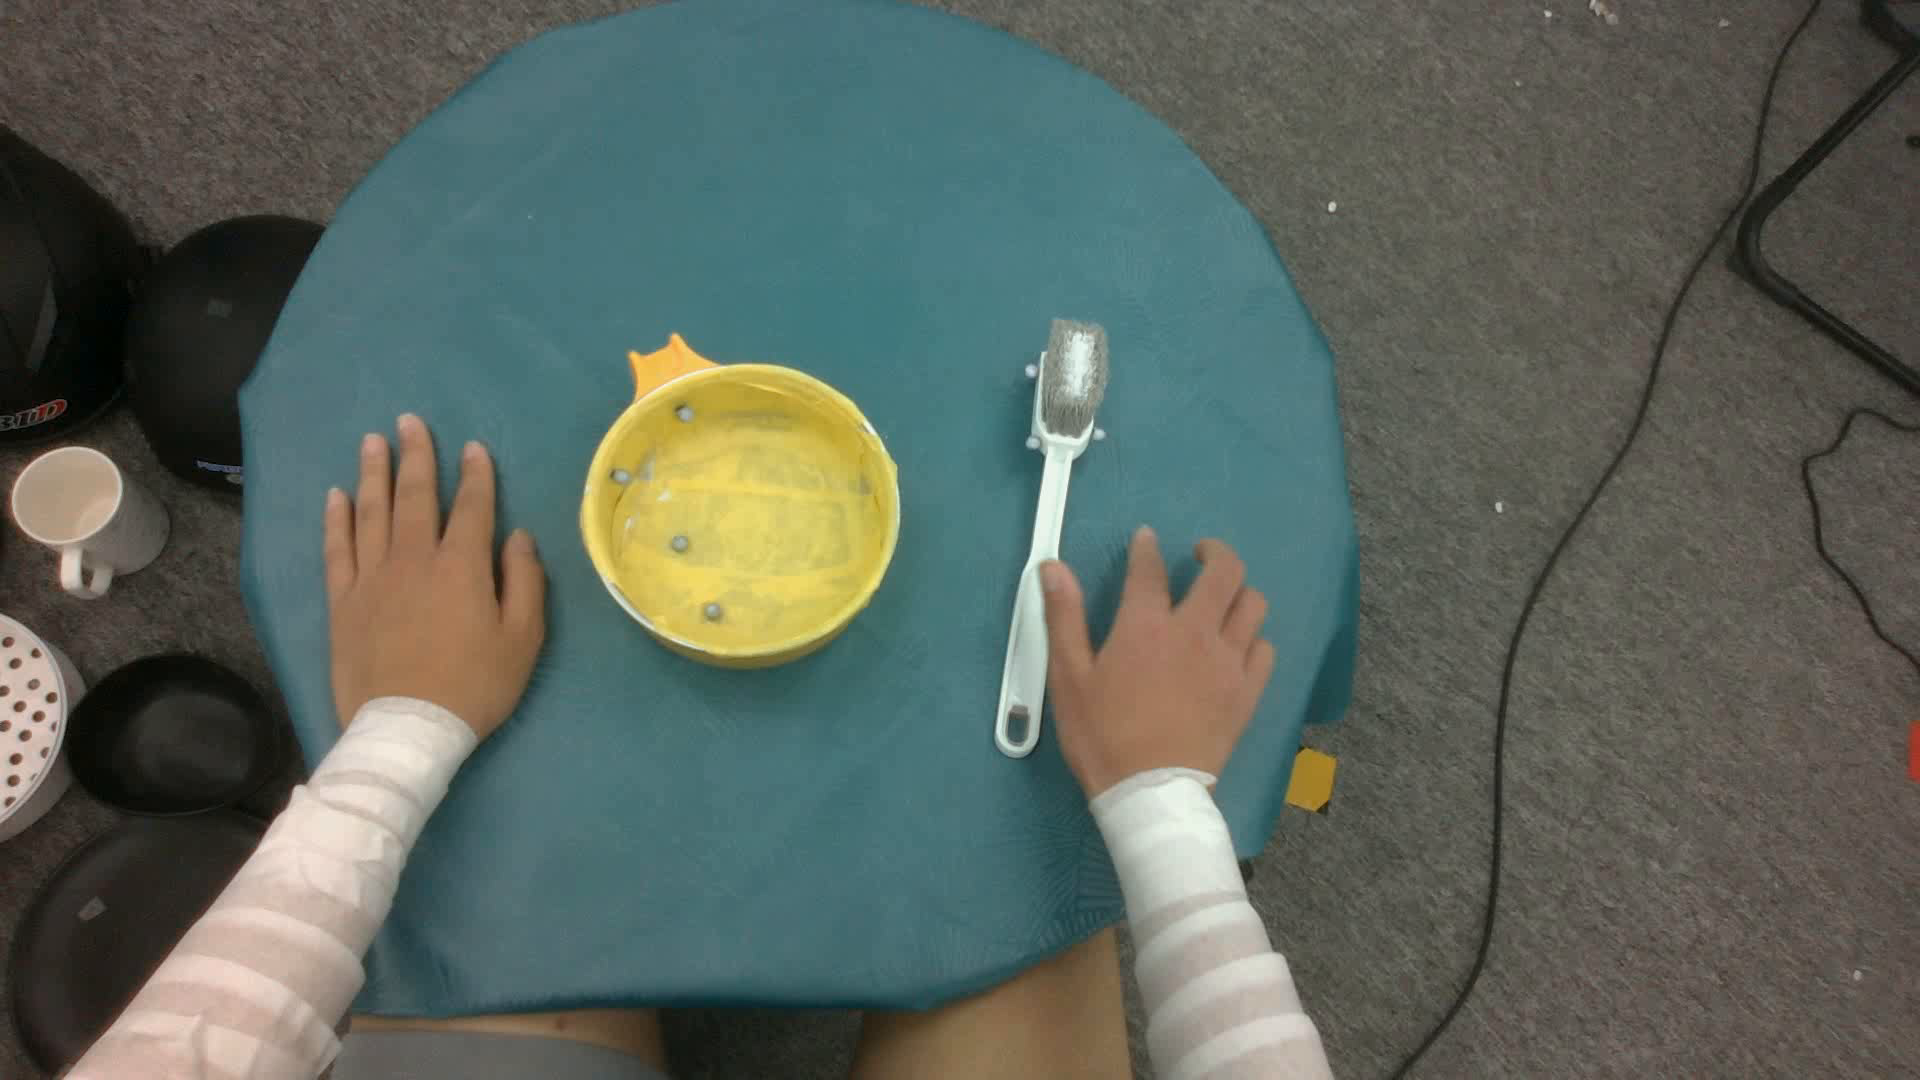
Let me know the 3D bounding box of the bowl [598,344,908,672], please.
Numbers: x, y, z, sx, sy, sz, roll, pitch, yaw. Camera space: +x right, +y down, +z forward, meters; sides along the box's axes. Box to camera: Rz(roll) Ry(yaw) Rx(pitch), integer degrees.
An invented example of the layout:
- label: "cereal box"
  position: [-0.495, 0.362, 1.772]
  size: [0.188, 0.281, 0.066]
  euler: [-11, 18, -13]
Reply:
- label: "bowl"
  position: [-0.110, -0.018, 0.718]
  size: [0.153, 0.074, 0.179]
  euler: [-31, 77, -11]

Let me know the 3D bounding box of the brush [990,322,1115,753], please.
- label: "brush"
  position: [0.050, -0.007, 0.745]
  size: [0.034, 0.050, 0.244]
  euler: [13, 70, -4]
